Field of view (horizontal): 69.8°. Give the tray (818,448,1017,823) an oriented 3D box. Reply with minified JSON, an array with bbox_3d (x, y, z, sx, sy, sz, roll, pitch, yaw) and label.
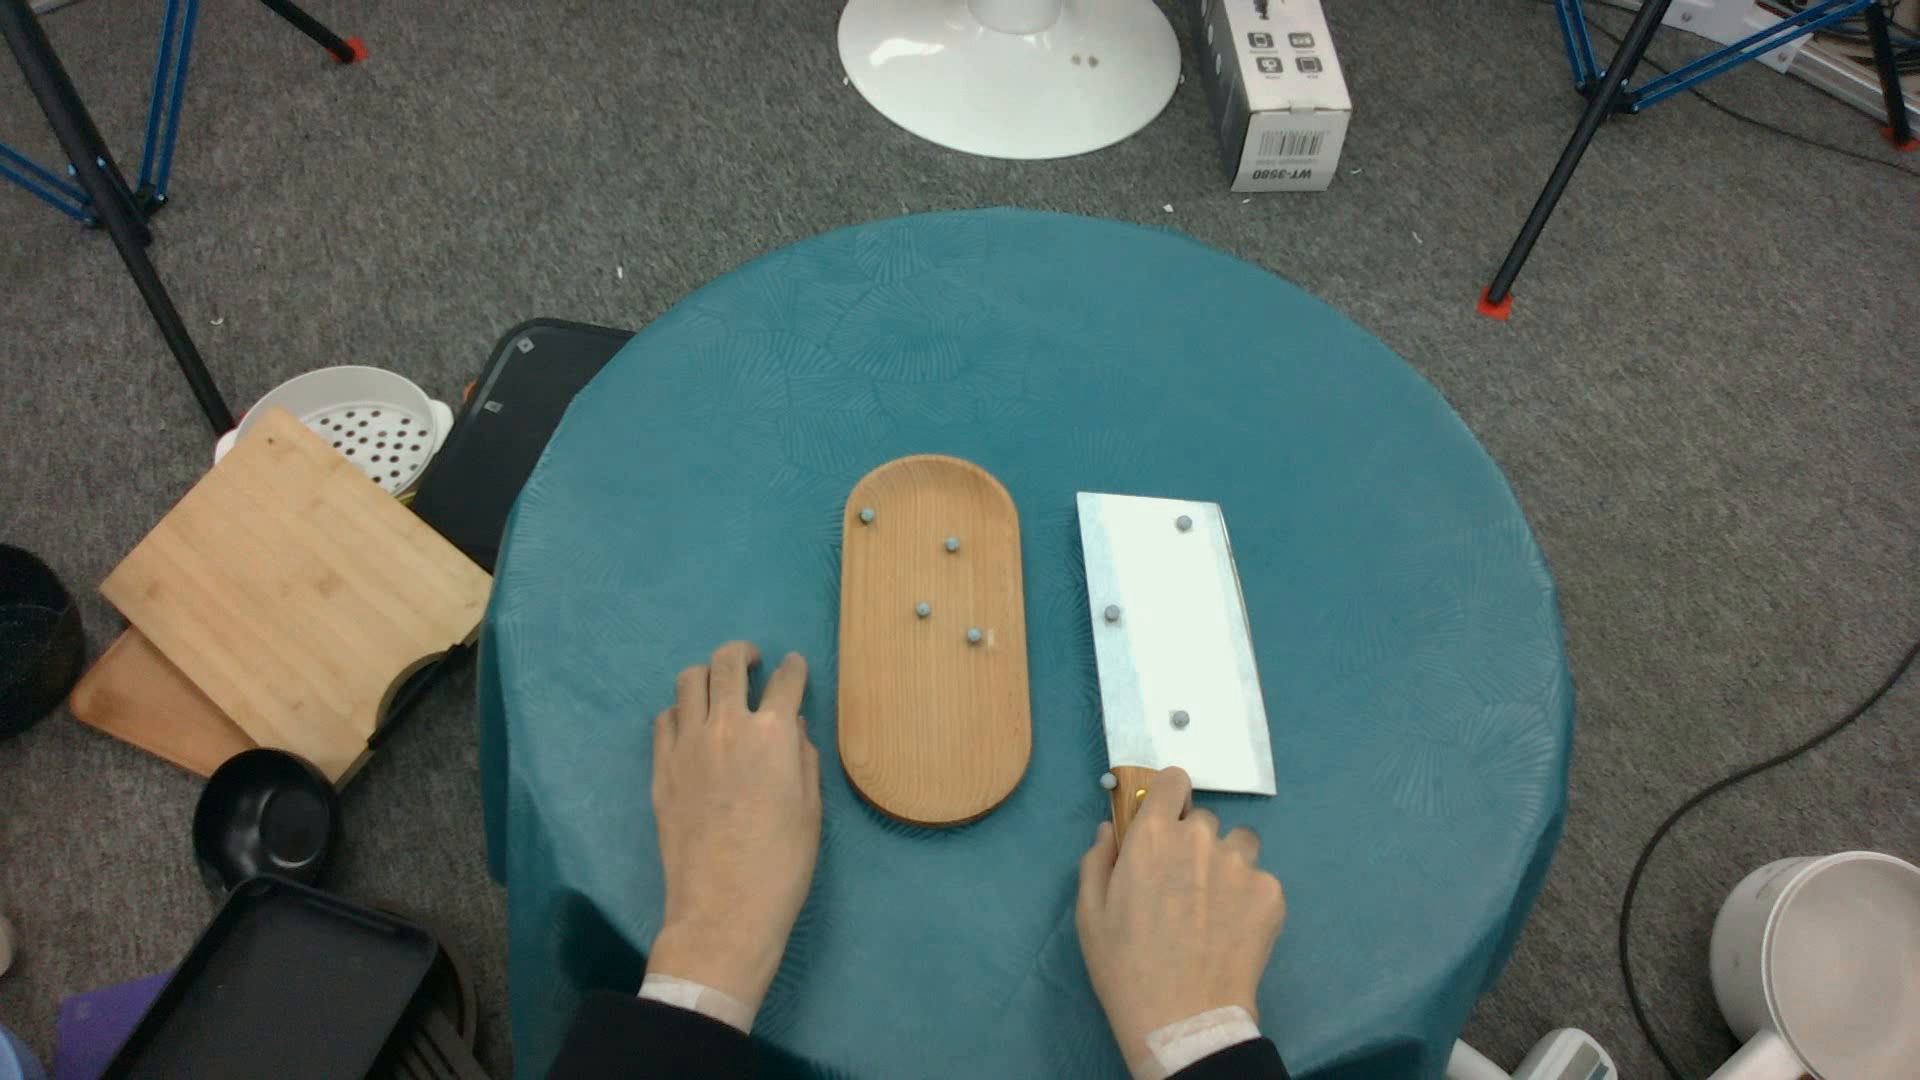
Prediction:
[{"bbox_3d":[-0.024,0.044,0.742,0.102,0.020,0.232,1,55,-4],"label":"tray"}]

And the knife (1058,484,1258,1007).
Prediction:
[{"bbox_3d":[0.108,0.091,0.721,0.093,0.021,0.307,6,53,-13],"label":"knife"}]
